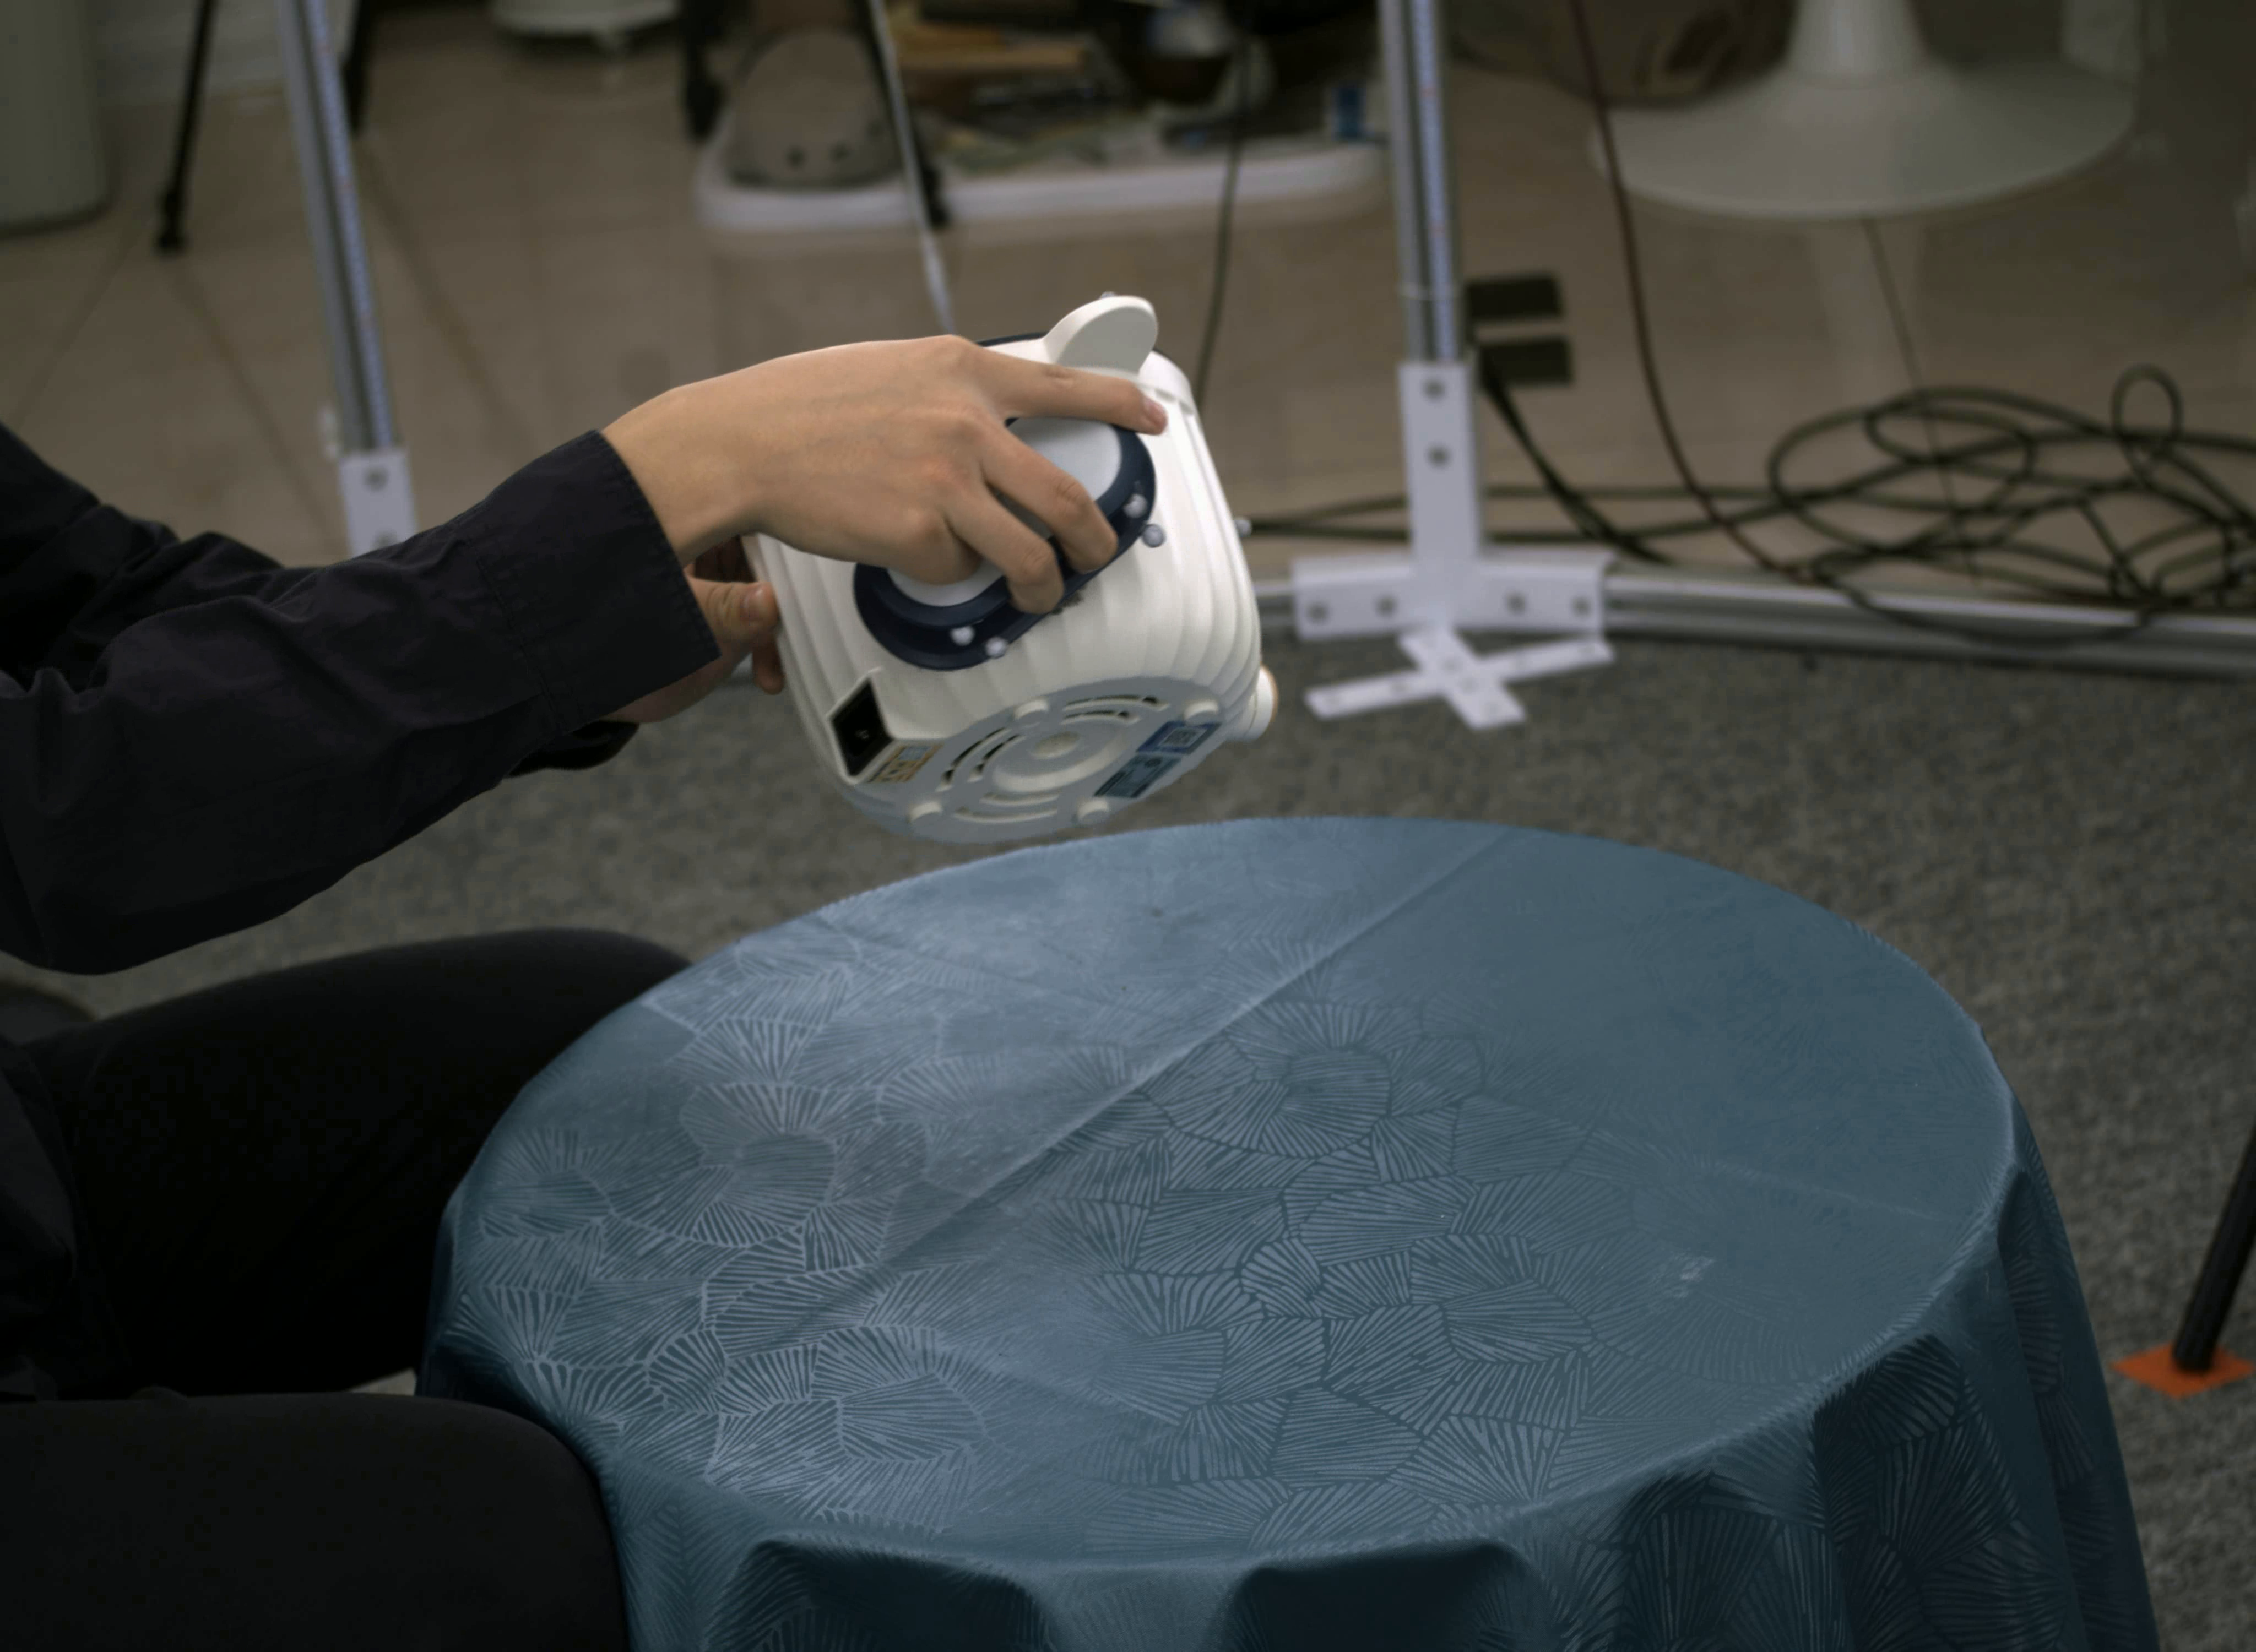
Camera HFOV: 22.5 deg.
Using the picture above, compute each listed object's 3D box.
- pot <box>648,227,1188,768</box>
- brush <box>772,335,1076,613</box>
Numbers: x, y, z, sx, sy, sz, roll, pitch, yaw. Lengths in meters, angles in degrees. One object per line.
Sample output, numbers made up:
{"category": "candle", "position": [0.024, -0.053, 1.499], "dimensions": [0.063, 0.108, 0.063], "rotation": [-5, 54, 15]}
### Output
{"category": "pot", "position": [-0.073, -0.110, 2.164], "dimensions": [0.190, 0.141, 0.243], "rotation": [-3, -24, -38]}
{"category": "brush", "position": [-0.073, -0.125, 2.031], "dimensions": [0.121, 0.067, 0.062], "rotation": [-35, -10, -11]}
